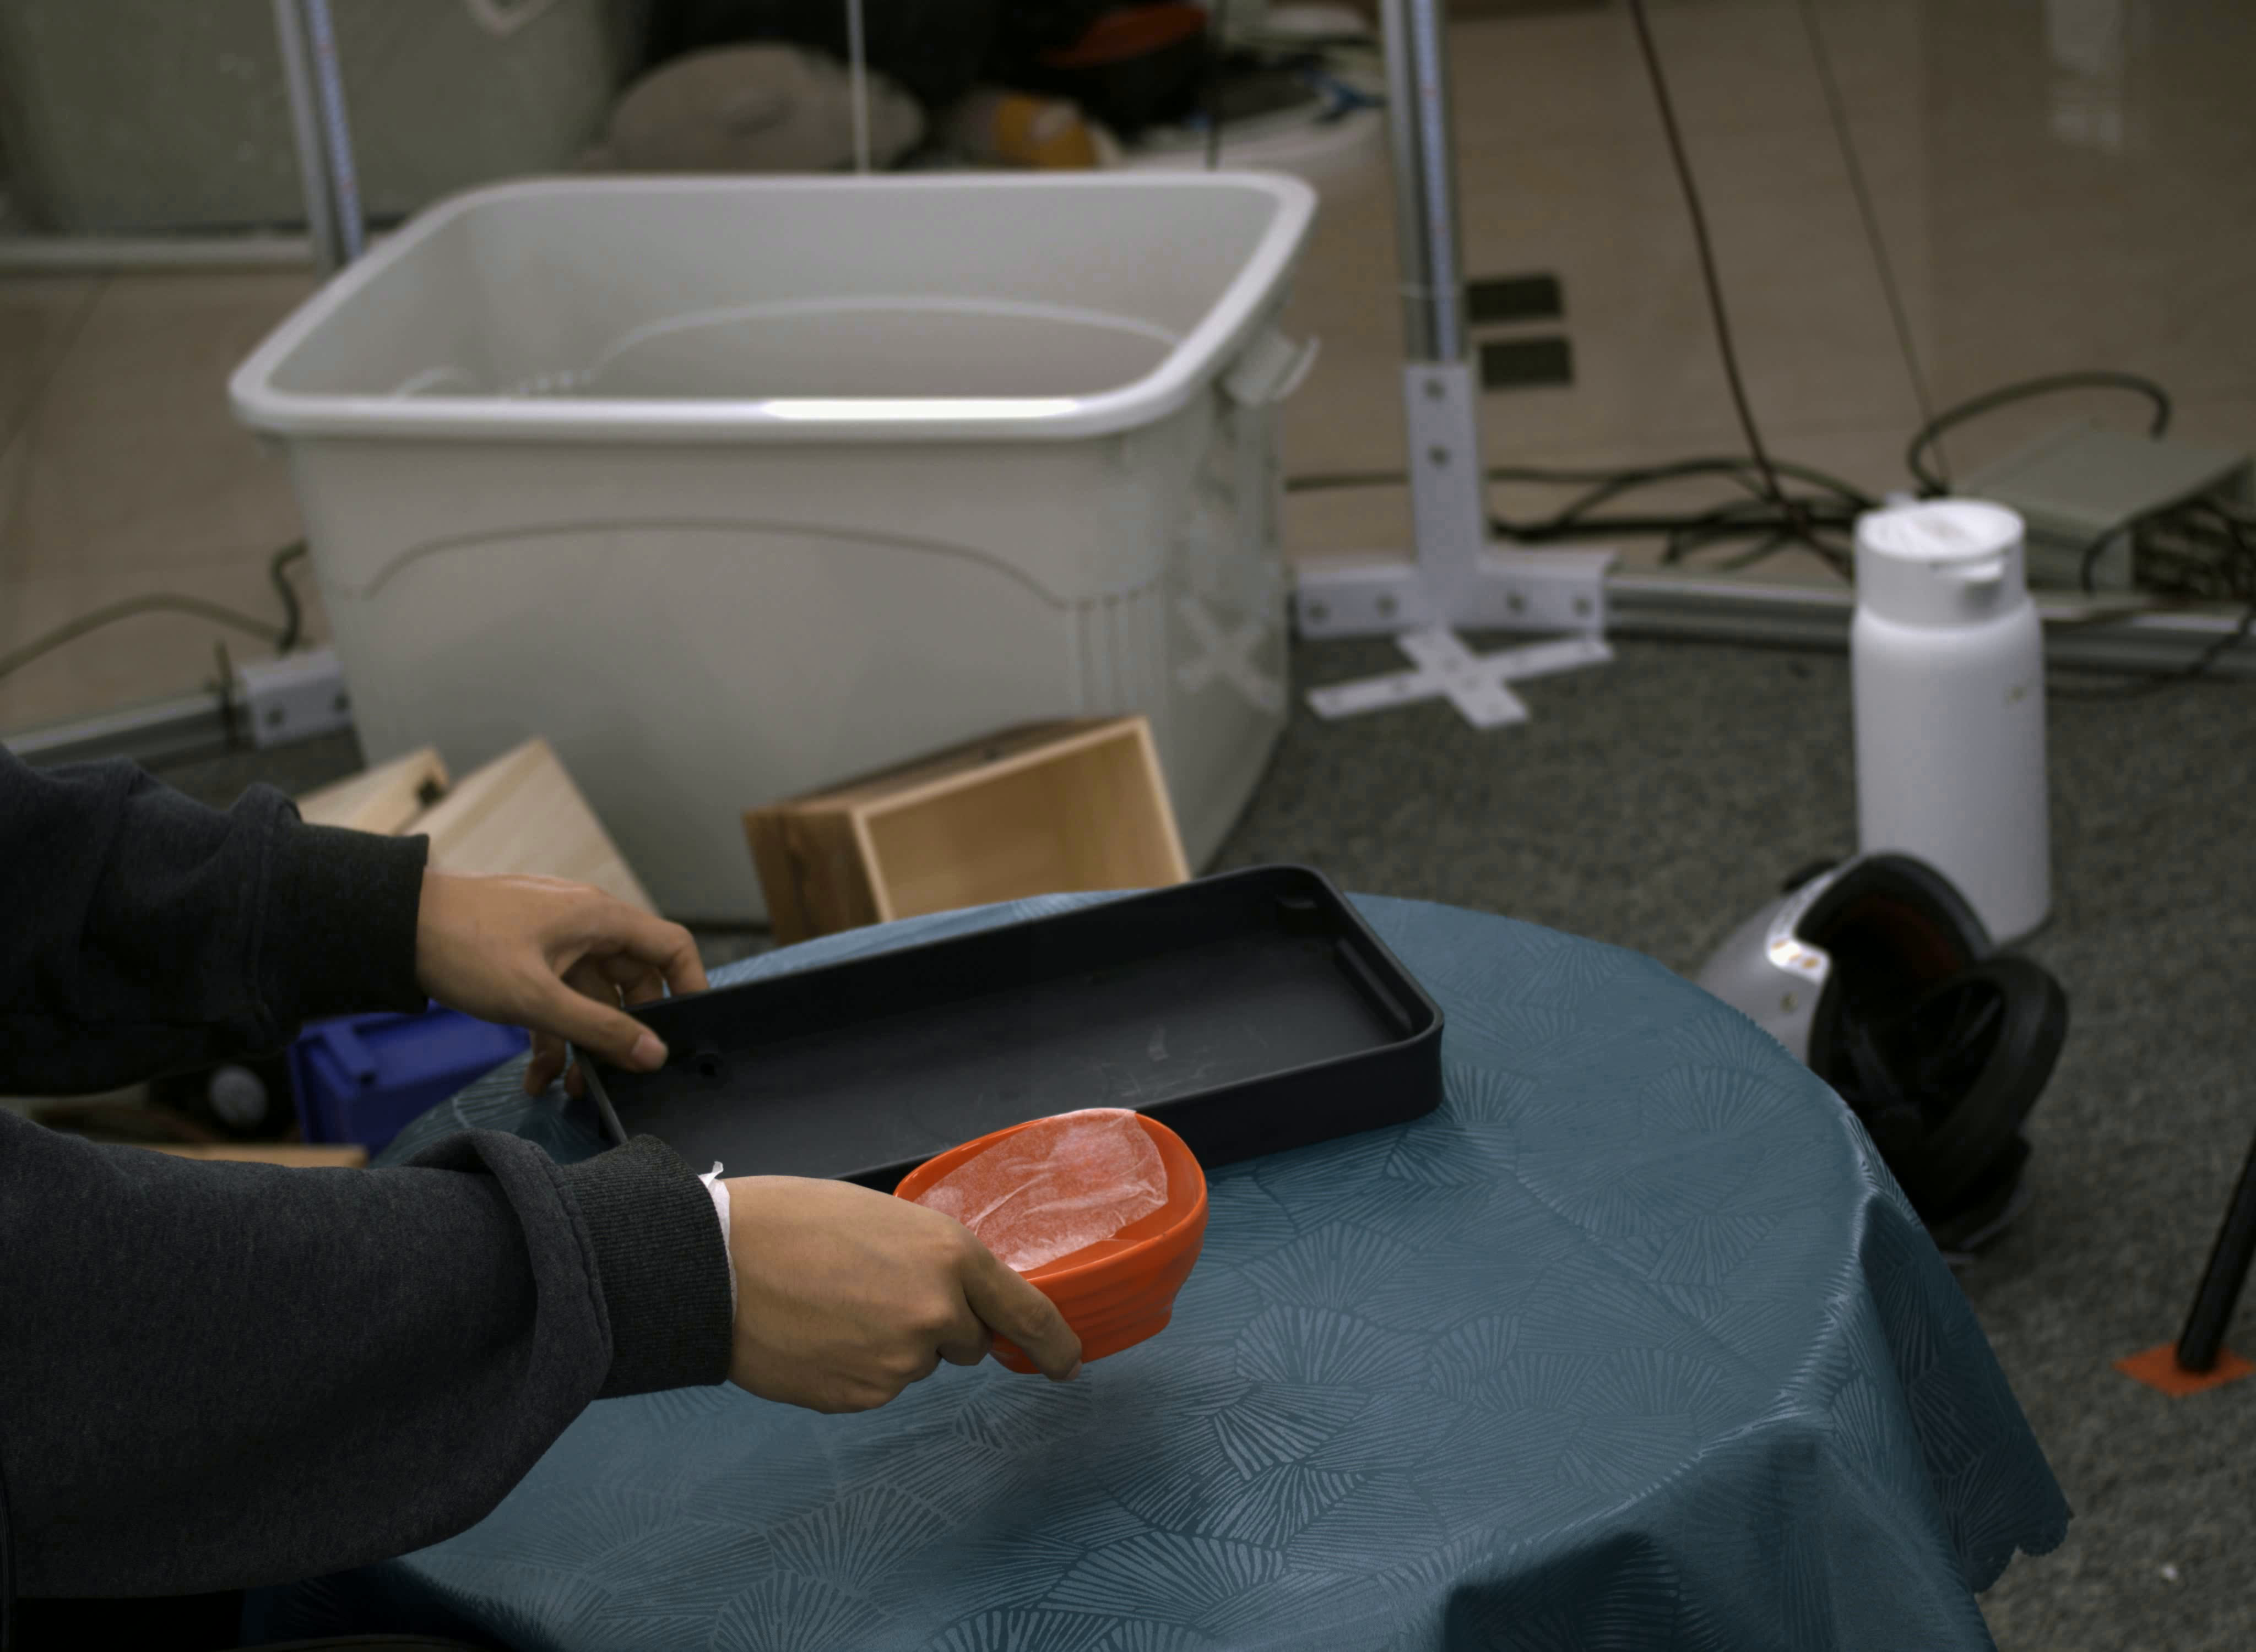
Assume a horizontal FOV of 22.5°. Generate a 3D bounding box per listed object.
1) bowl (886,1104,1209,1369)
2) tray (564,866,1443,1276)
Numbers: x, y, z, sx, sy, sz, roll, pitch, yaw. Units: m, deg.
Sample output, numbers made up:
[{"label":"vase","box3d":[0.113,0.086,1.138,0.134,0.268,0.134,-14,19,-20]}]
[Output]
[{"label":"bowl","box3d":[-0.025,0.149,1.986,0.119,0.052,0.117,-8,27,4]},{"label":"tray","box3d":[-0.049,0.092,2.212,0.317,0.037,0.182,-12,25,-13]}]
